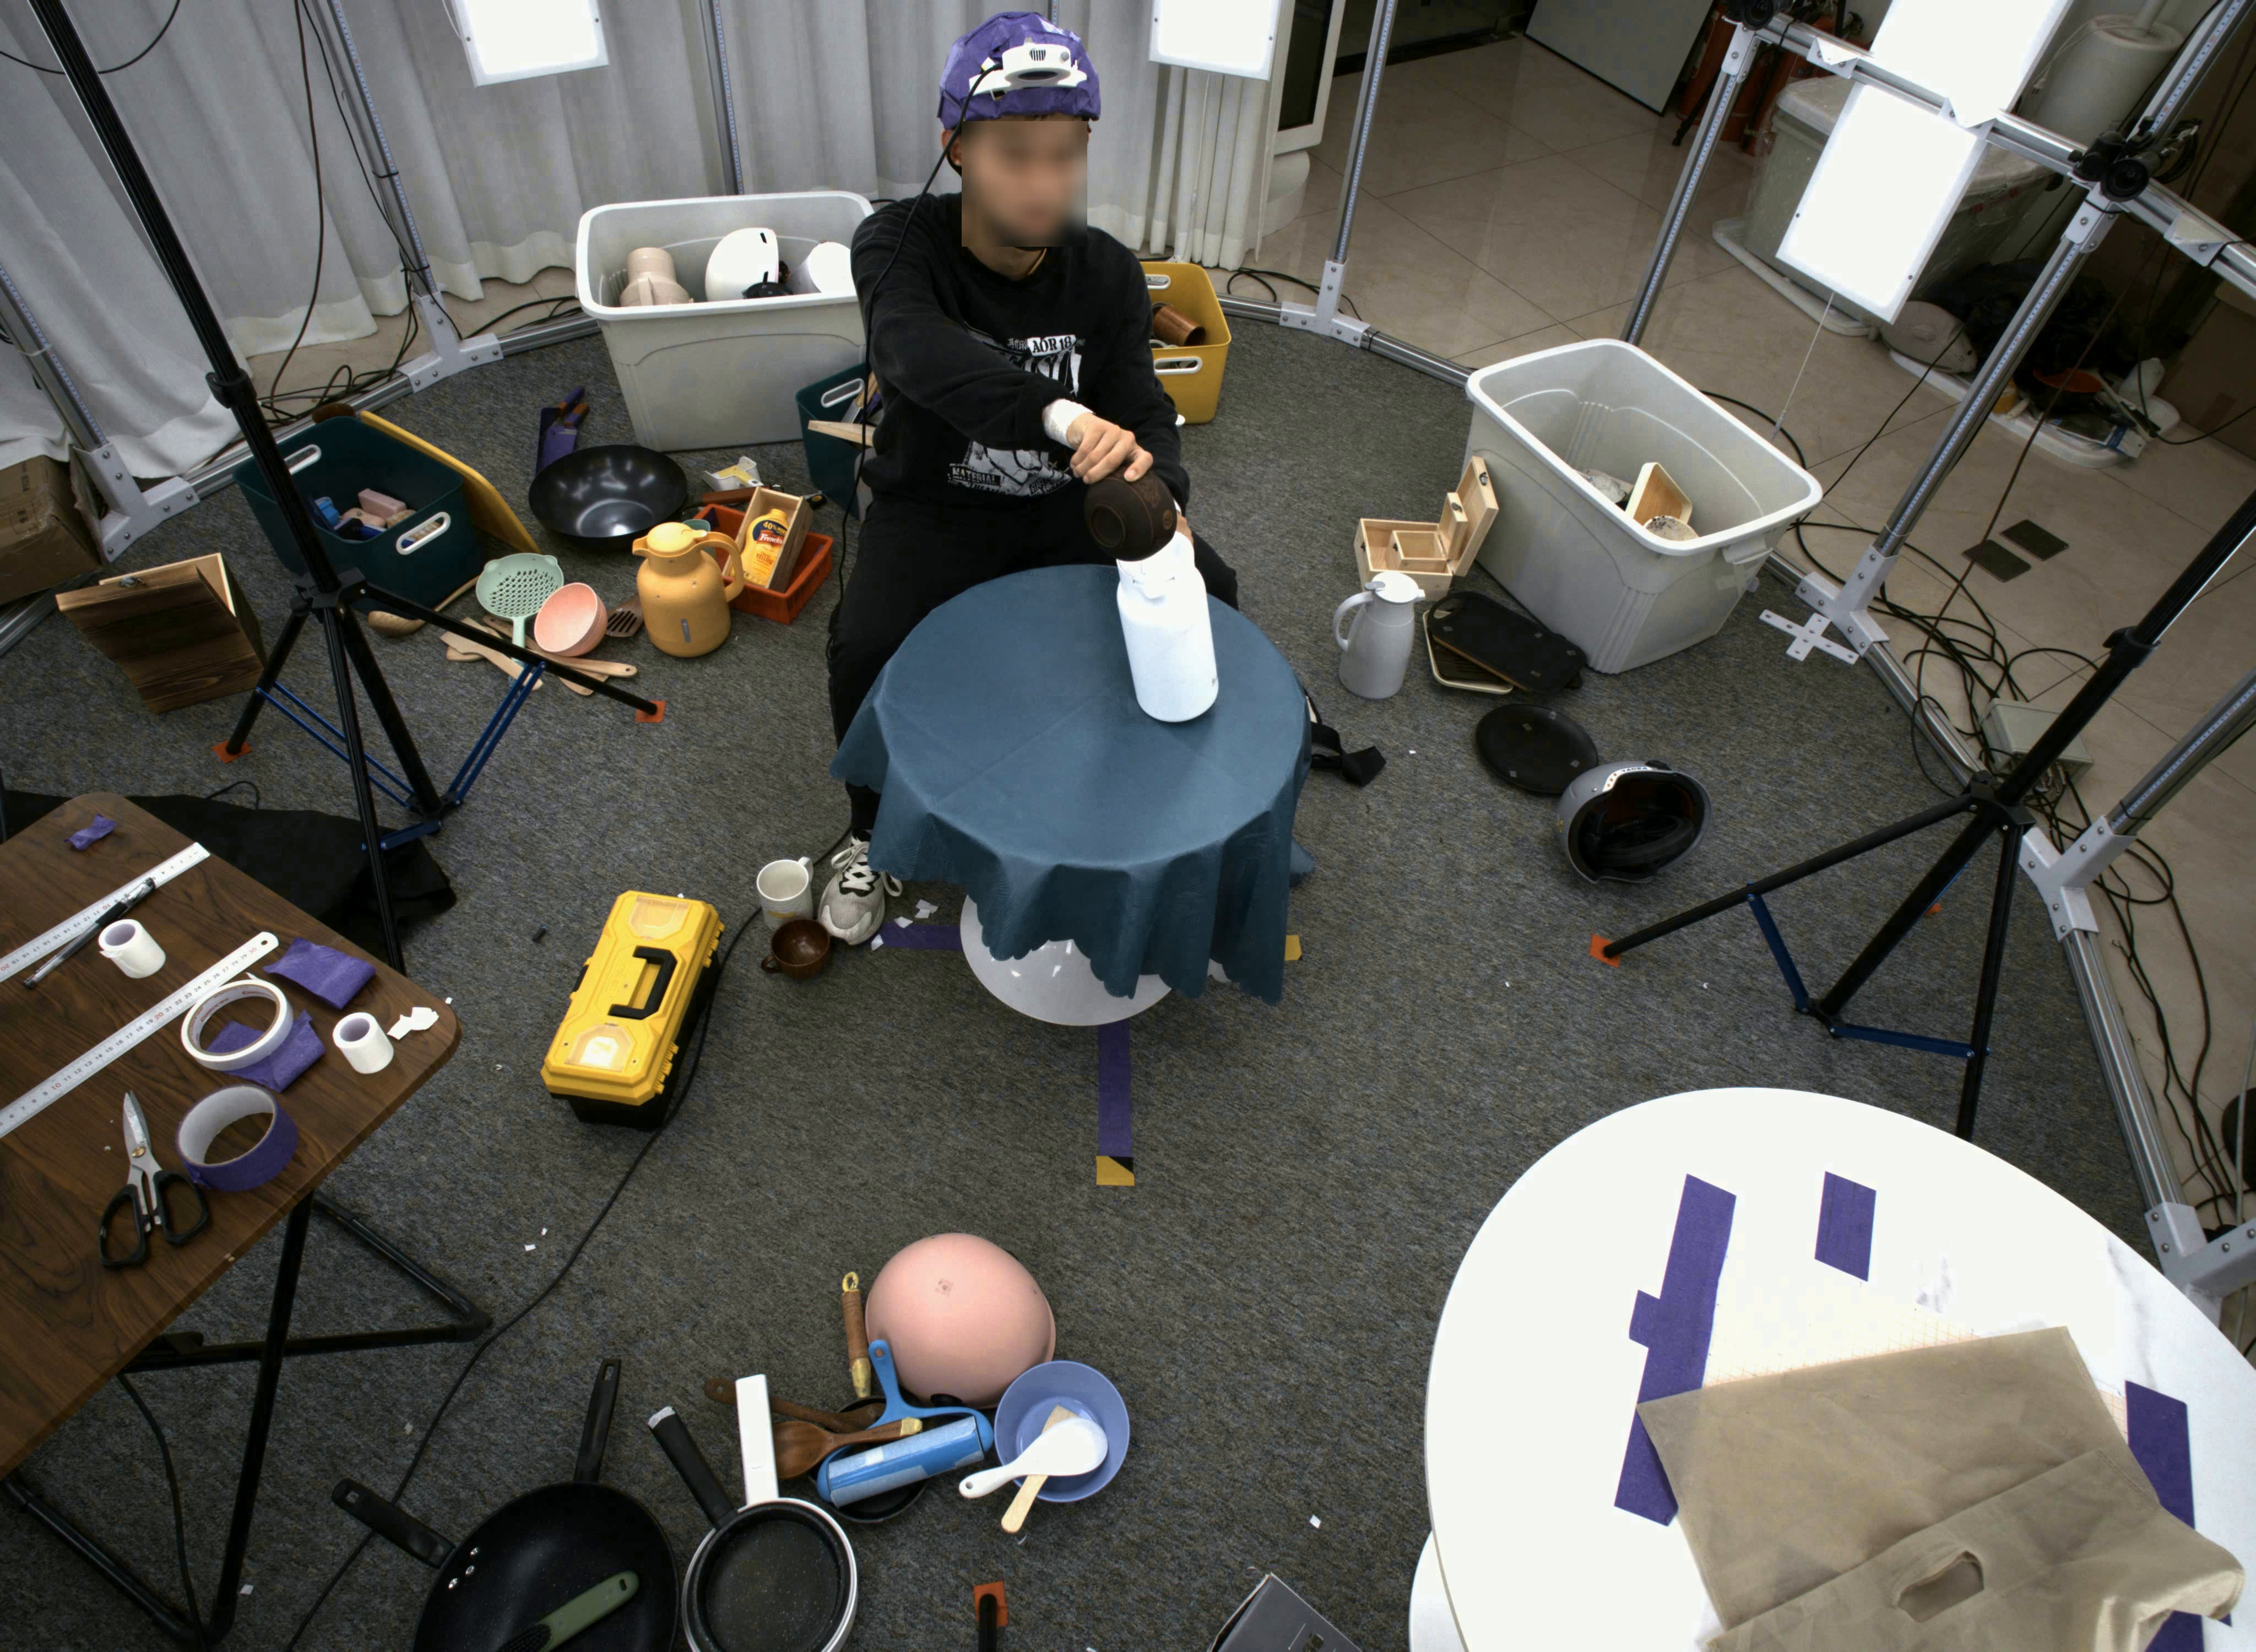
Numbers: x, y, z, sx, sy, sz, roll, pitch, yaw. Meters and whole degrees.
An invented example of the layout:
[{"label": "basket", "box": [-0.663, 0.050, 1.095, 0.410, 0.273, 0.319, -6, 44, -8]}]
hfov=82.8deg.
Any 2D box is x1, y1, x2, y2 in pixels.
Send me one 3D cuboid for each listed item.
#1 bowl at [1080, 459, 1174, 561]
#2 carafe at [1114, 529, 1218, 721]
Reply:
[{"label": "bowl", "box": [-0.009, -0.372, 1.542, 0.119, 0.115, 0.070, 35, 50, 23]}, {"label": "carafe", "box": [0.050, -0.281, 1.734, 0.124, 0.262, 0.177, -5, 52, 10]}]
